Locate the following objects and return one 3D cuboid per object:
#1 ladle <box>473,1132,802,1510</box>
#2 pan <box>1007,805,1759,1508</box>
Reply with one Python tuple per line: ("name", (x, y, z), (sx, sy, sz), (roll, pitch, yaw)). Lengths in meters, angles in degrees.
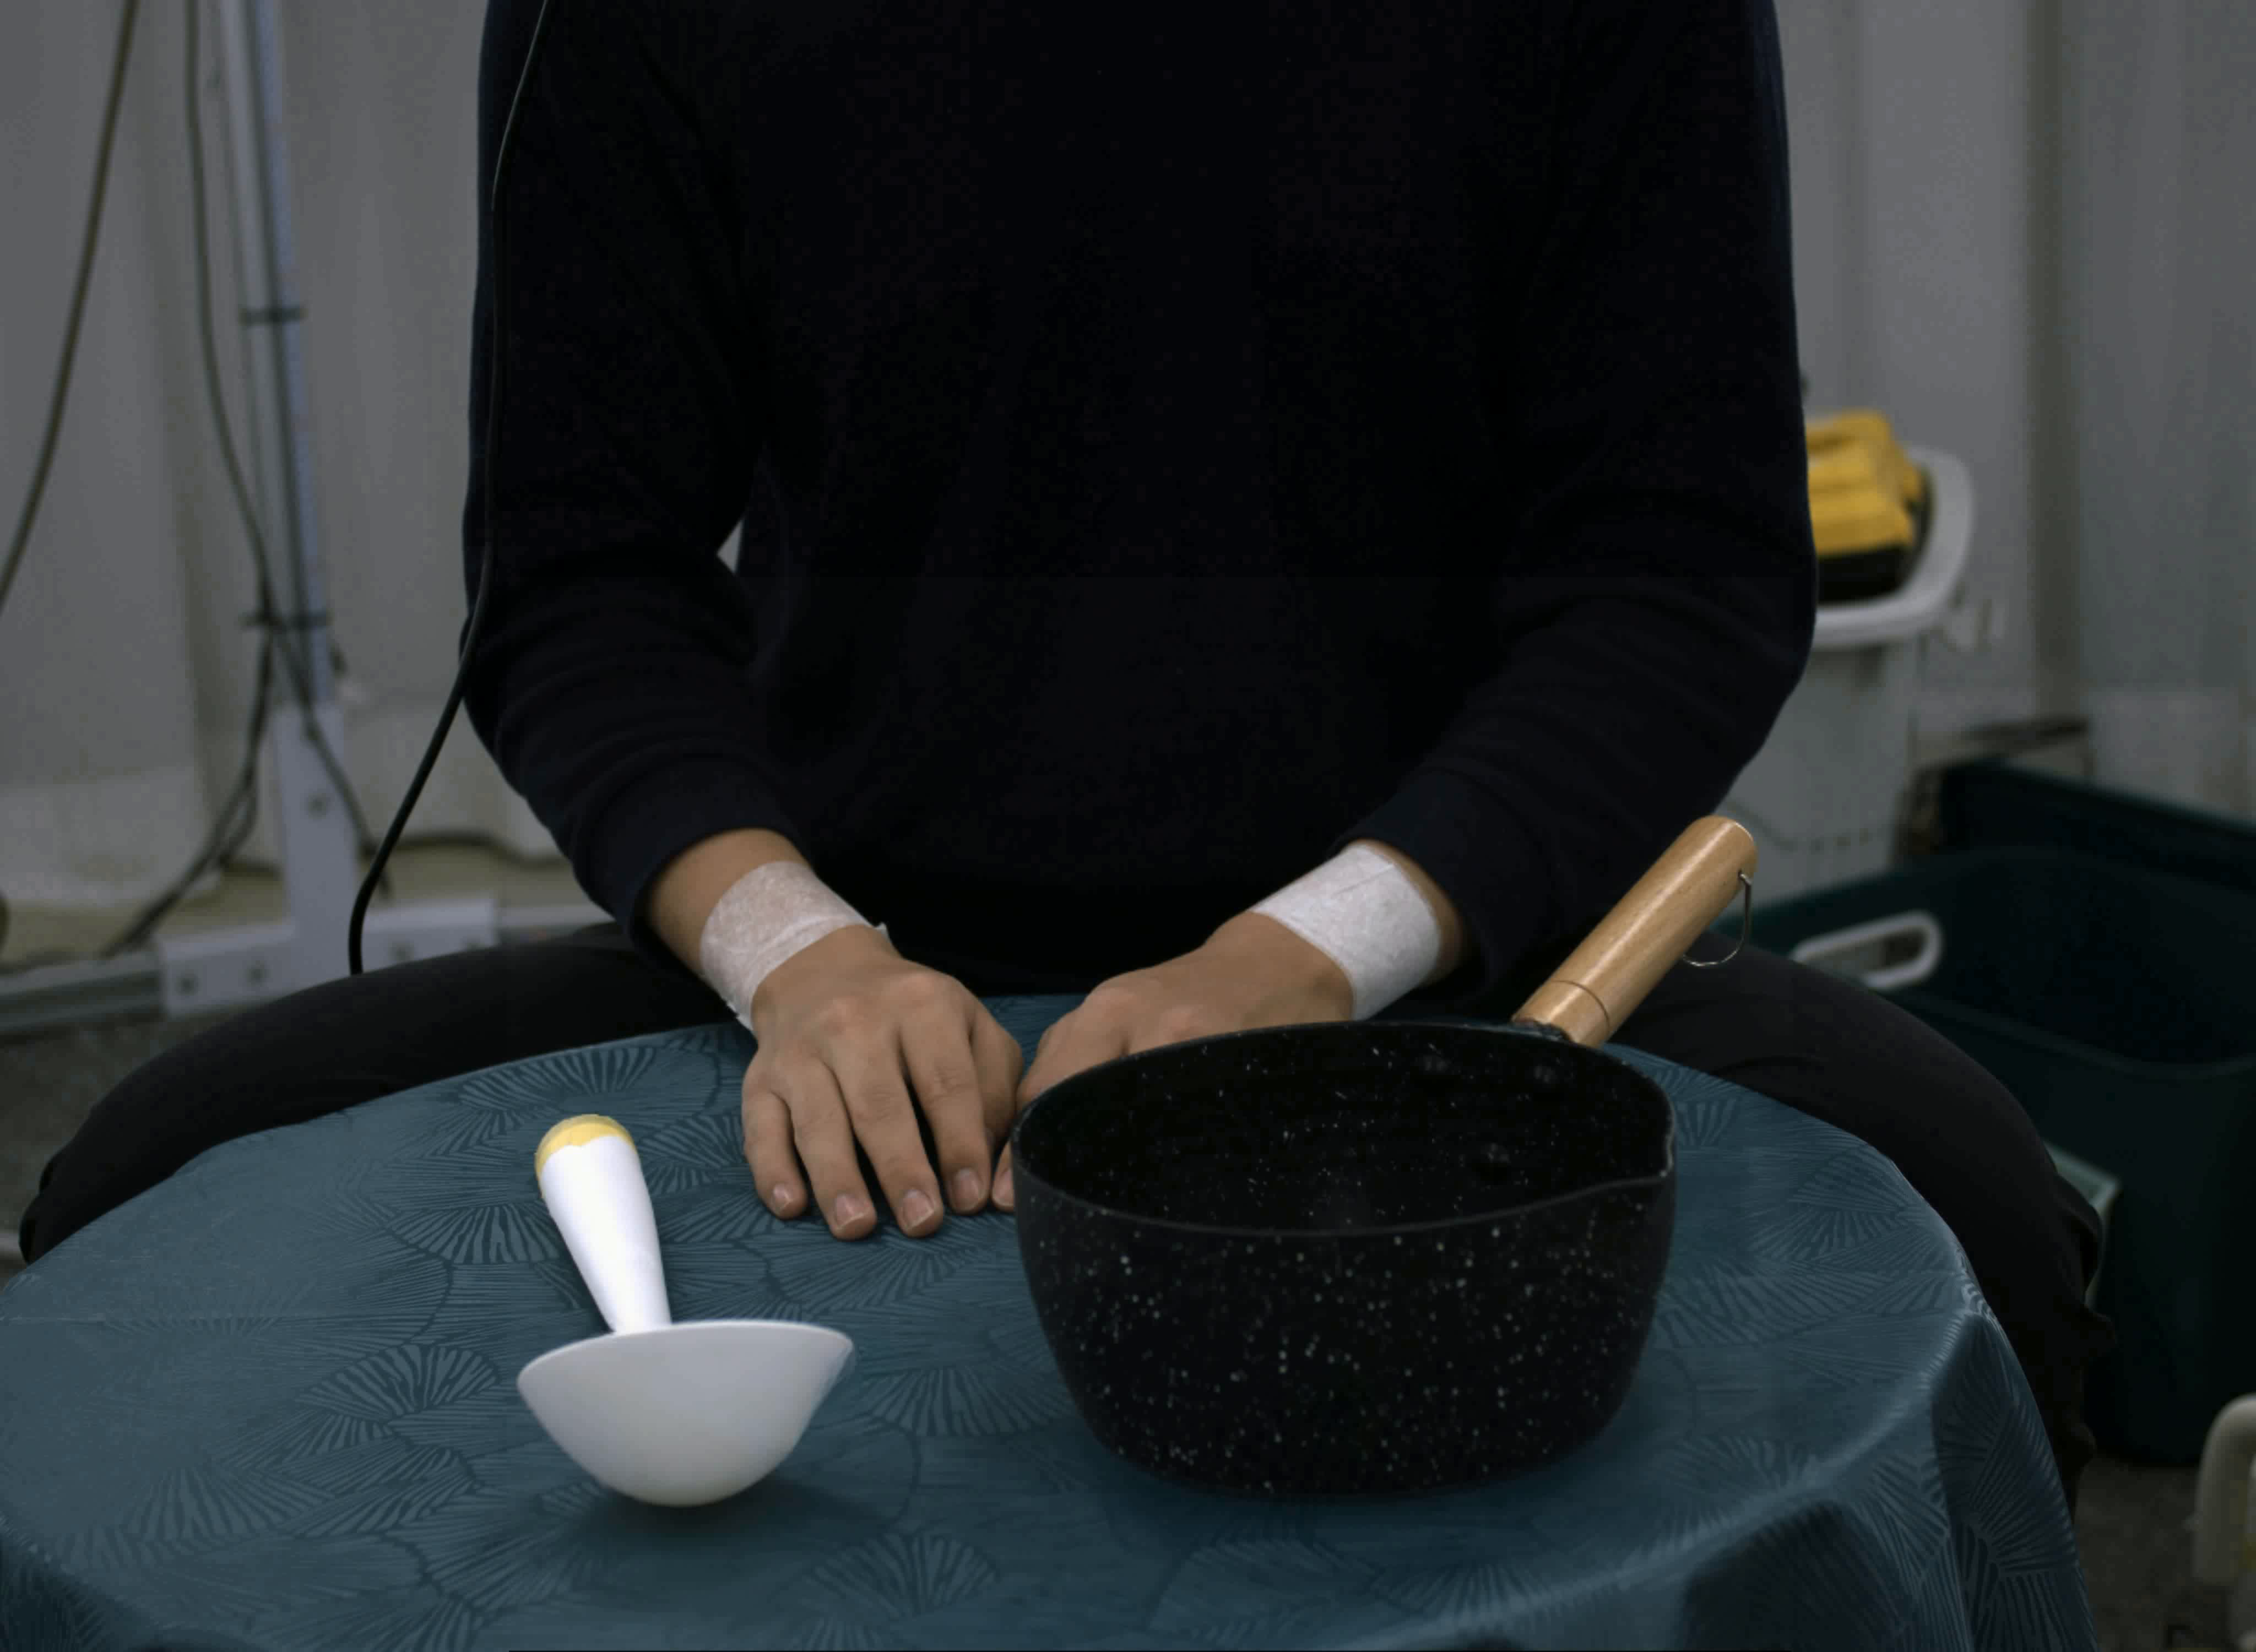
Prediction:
("ladle", (-0.149, 0.127, 1.575), (0.090, 0.069, 0.295), (-11, 15, -7))
("pan", (0.100, 0.090, 1.580), (0.208, 0.108, 0.343), (5, 18, 30))
